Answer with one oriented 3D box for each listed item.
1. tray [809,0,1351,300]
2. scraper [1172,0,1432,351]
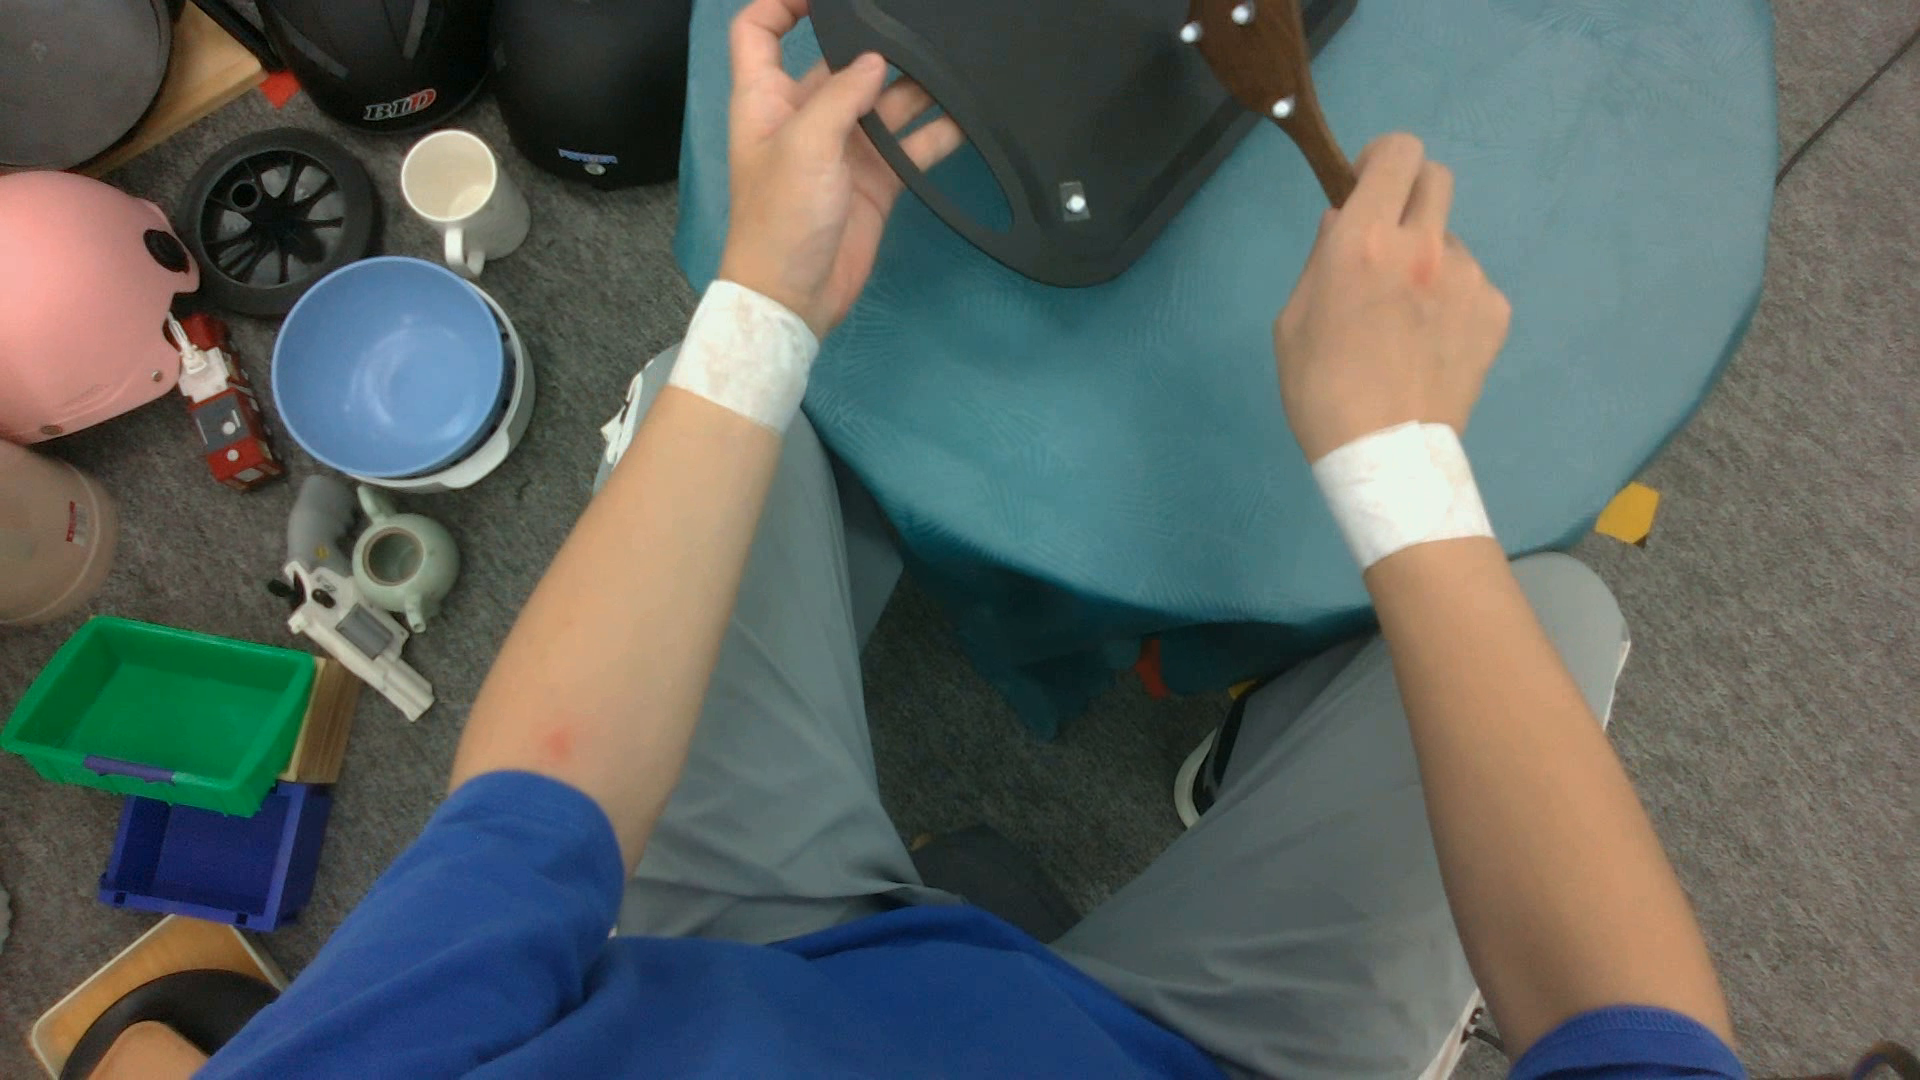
[{"bbox_3d":[0.072,-0.271,0.692,0.211,0.010,0.326,46,66,-14],"label":"tray"},{"bbox_3d":[0.161,-0.179,0.649,0.011,0.075,0.211,-23,74,-16],"label":"scraper"}]
